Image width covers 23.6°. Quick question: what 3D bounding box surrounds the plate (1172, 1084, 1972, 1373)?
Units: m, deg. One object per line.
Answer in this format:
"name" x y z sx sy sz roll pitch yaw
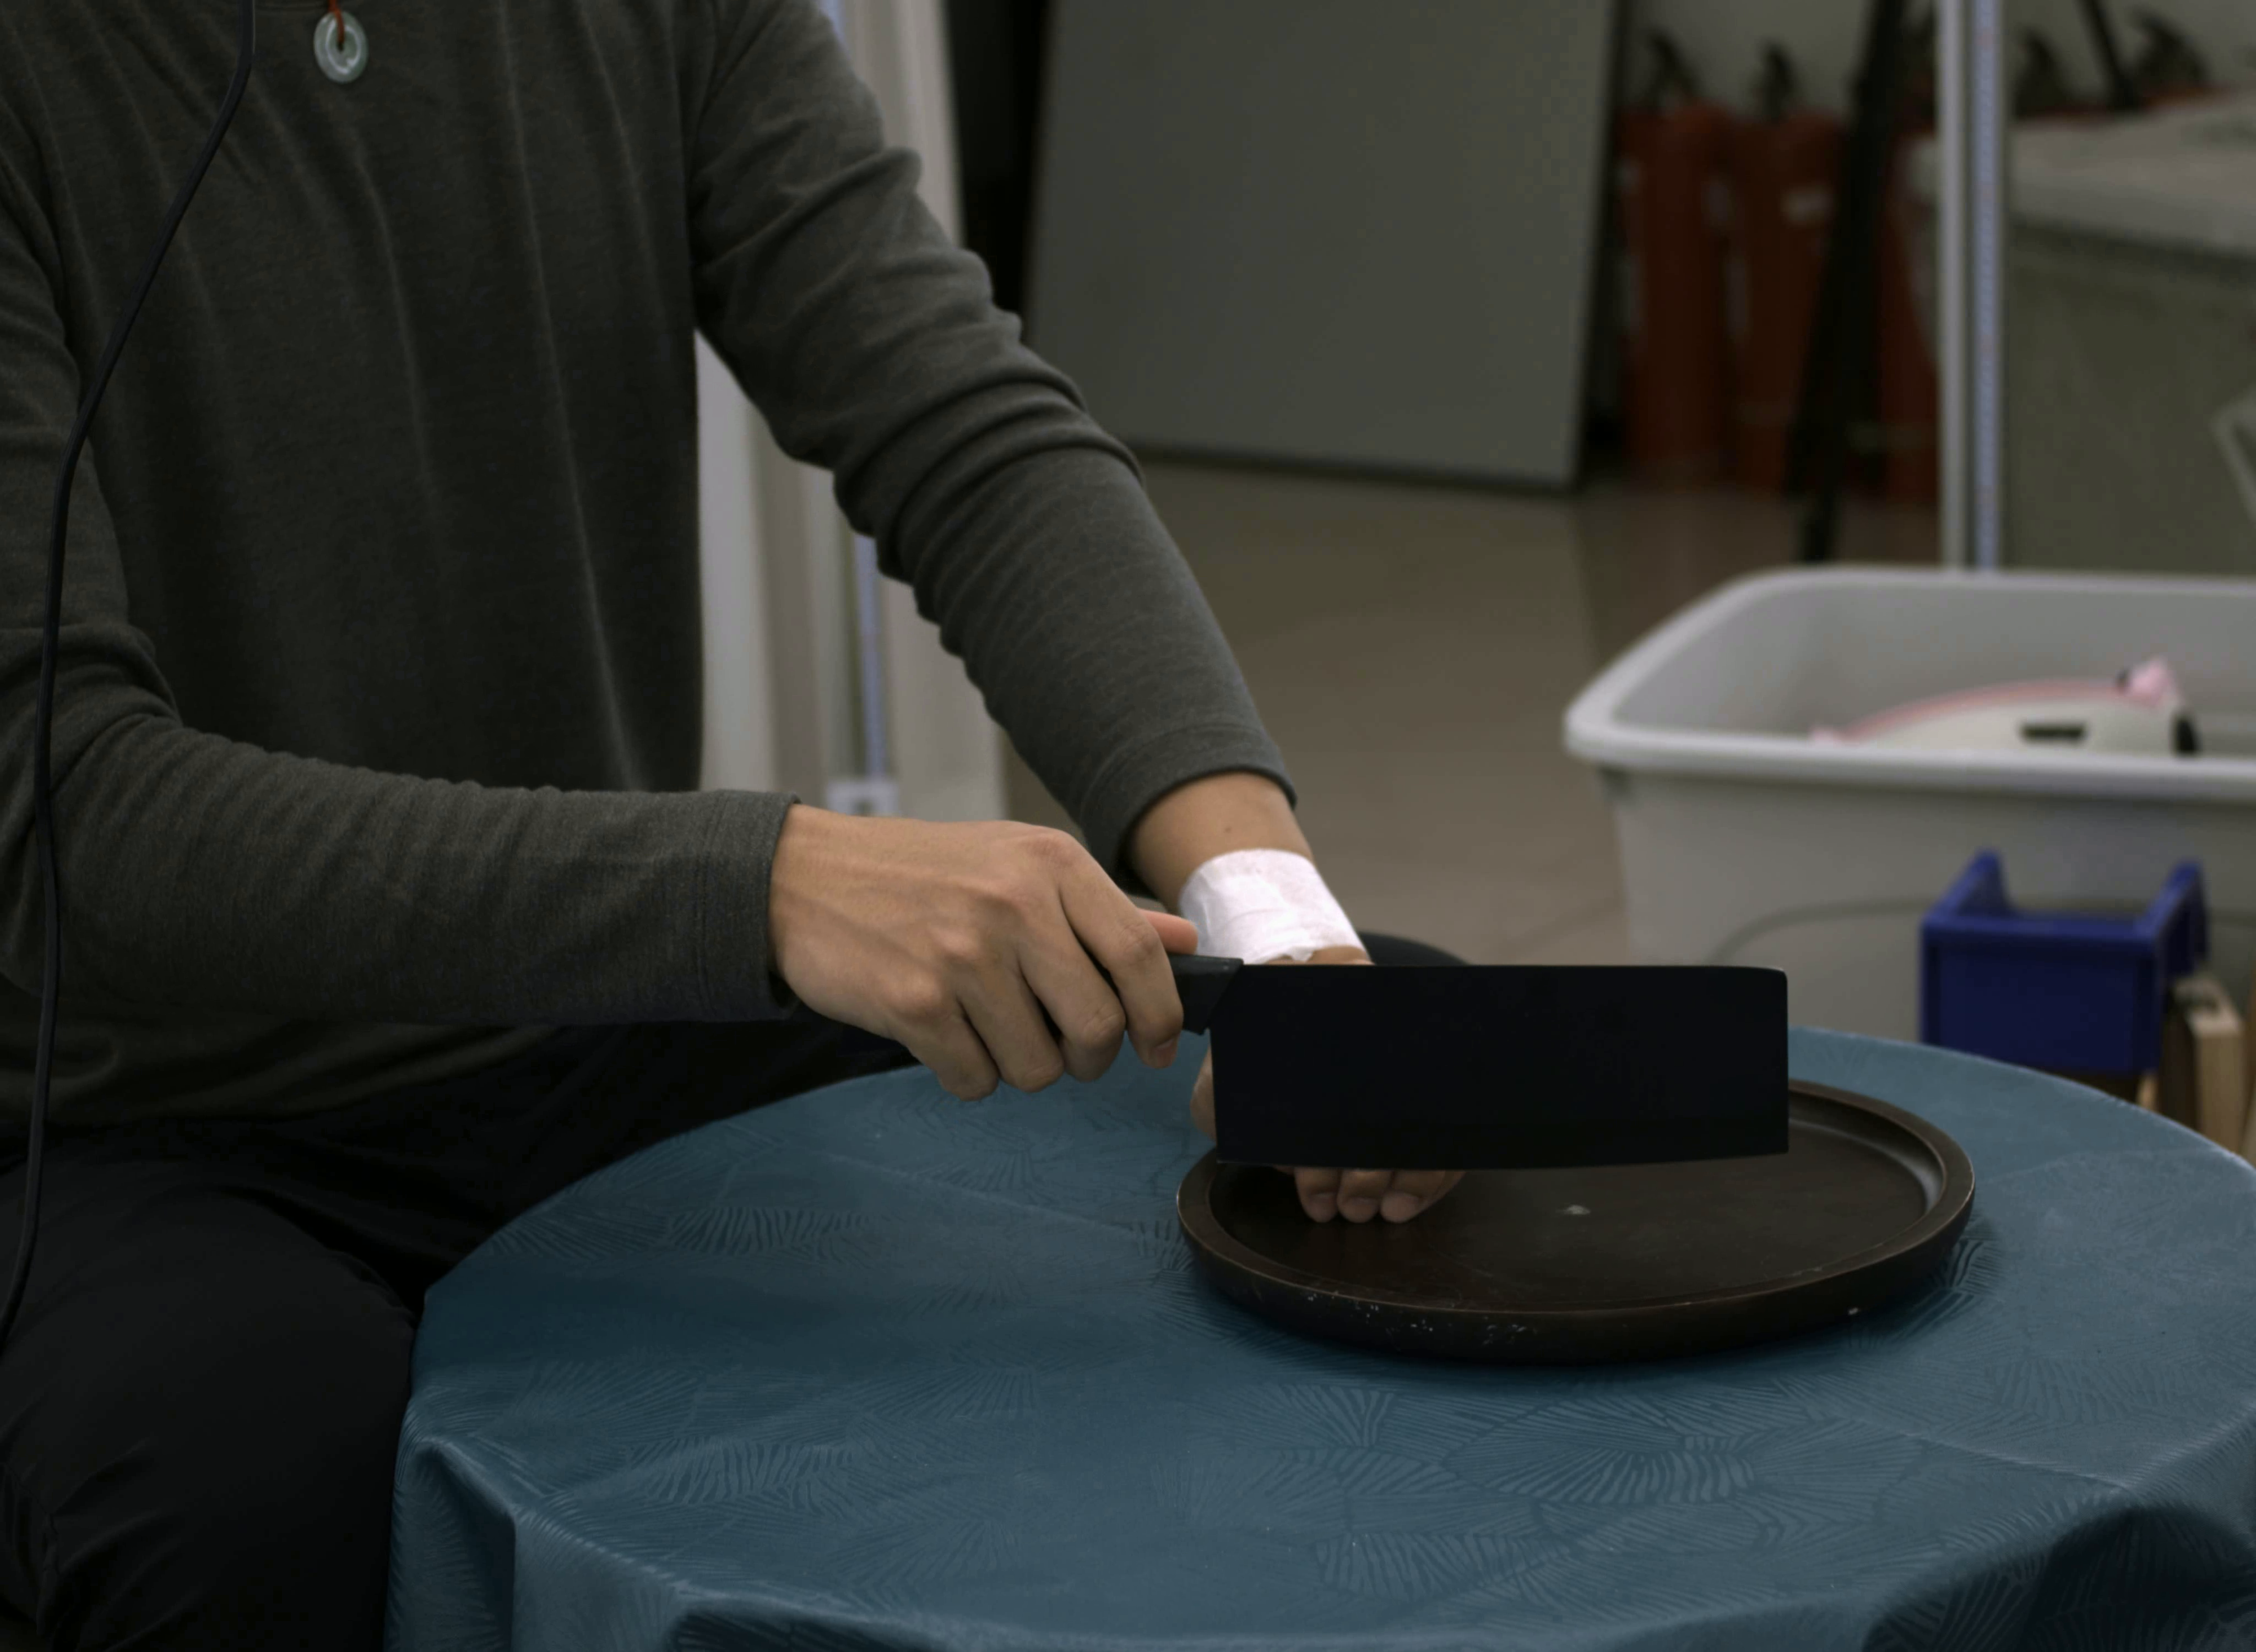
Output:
"plate" 0.139 0.121 1.687 0.251 0.029 0.255 -5 15 0

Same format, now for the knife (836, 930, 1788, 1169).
"knife" 0.055 0.067 1.665 0.300 0.082 0.021 4 13 12
